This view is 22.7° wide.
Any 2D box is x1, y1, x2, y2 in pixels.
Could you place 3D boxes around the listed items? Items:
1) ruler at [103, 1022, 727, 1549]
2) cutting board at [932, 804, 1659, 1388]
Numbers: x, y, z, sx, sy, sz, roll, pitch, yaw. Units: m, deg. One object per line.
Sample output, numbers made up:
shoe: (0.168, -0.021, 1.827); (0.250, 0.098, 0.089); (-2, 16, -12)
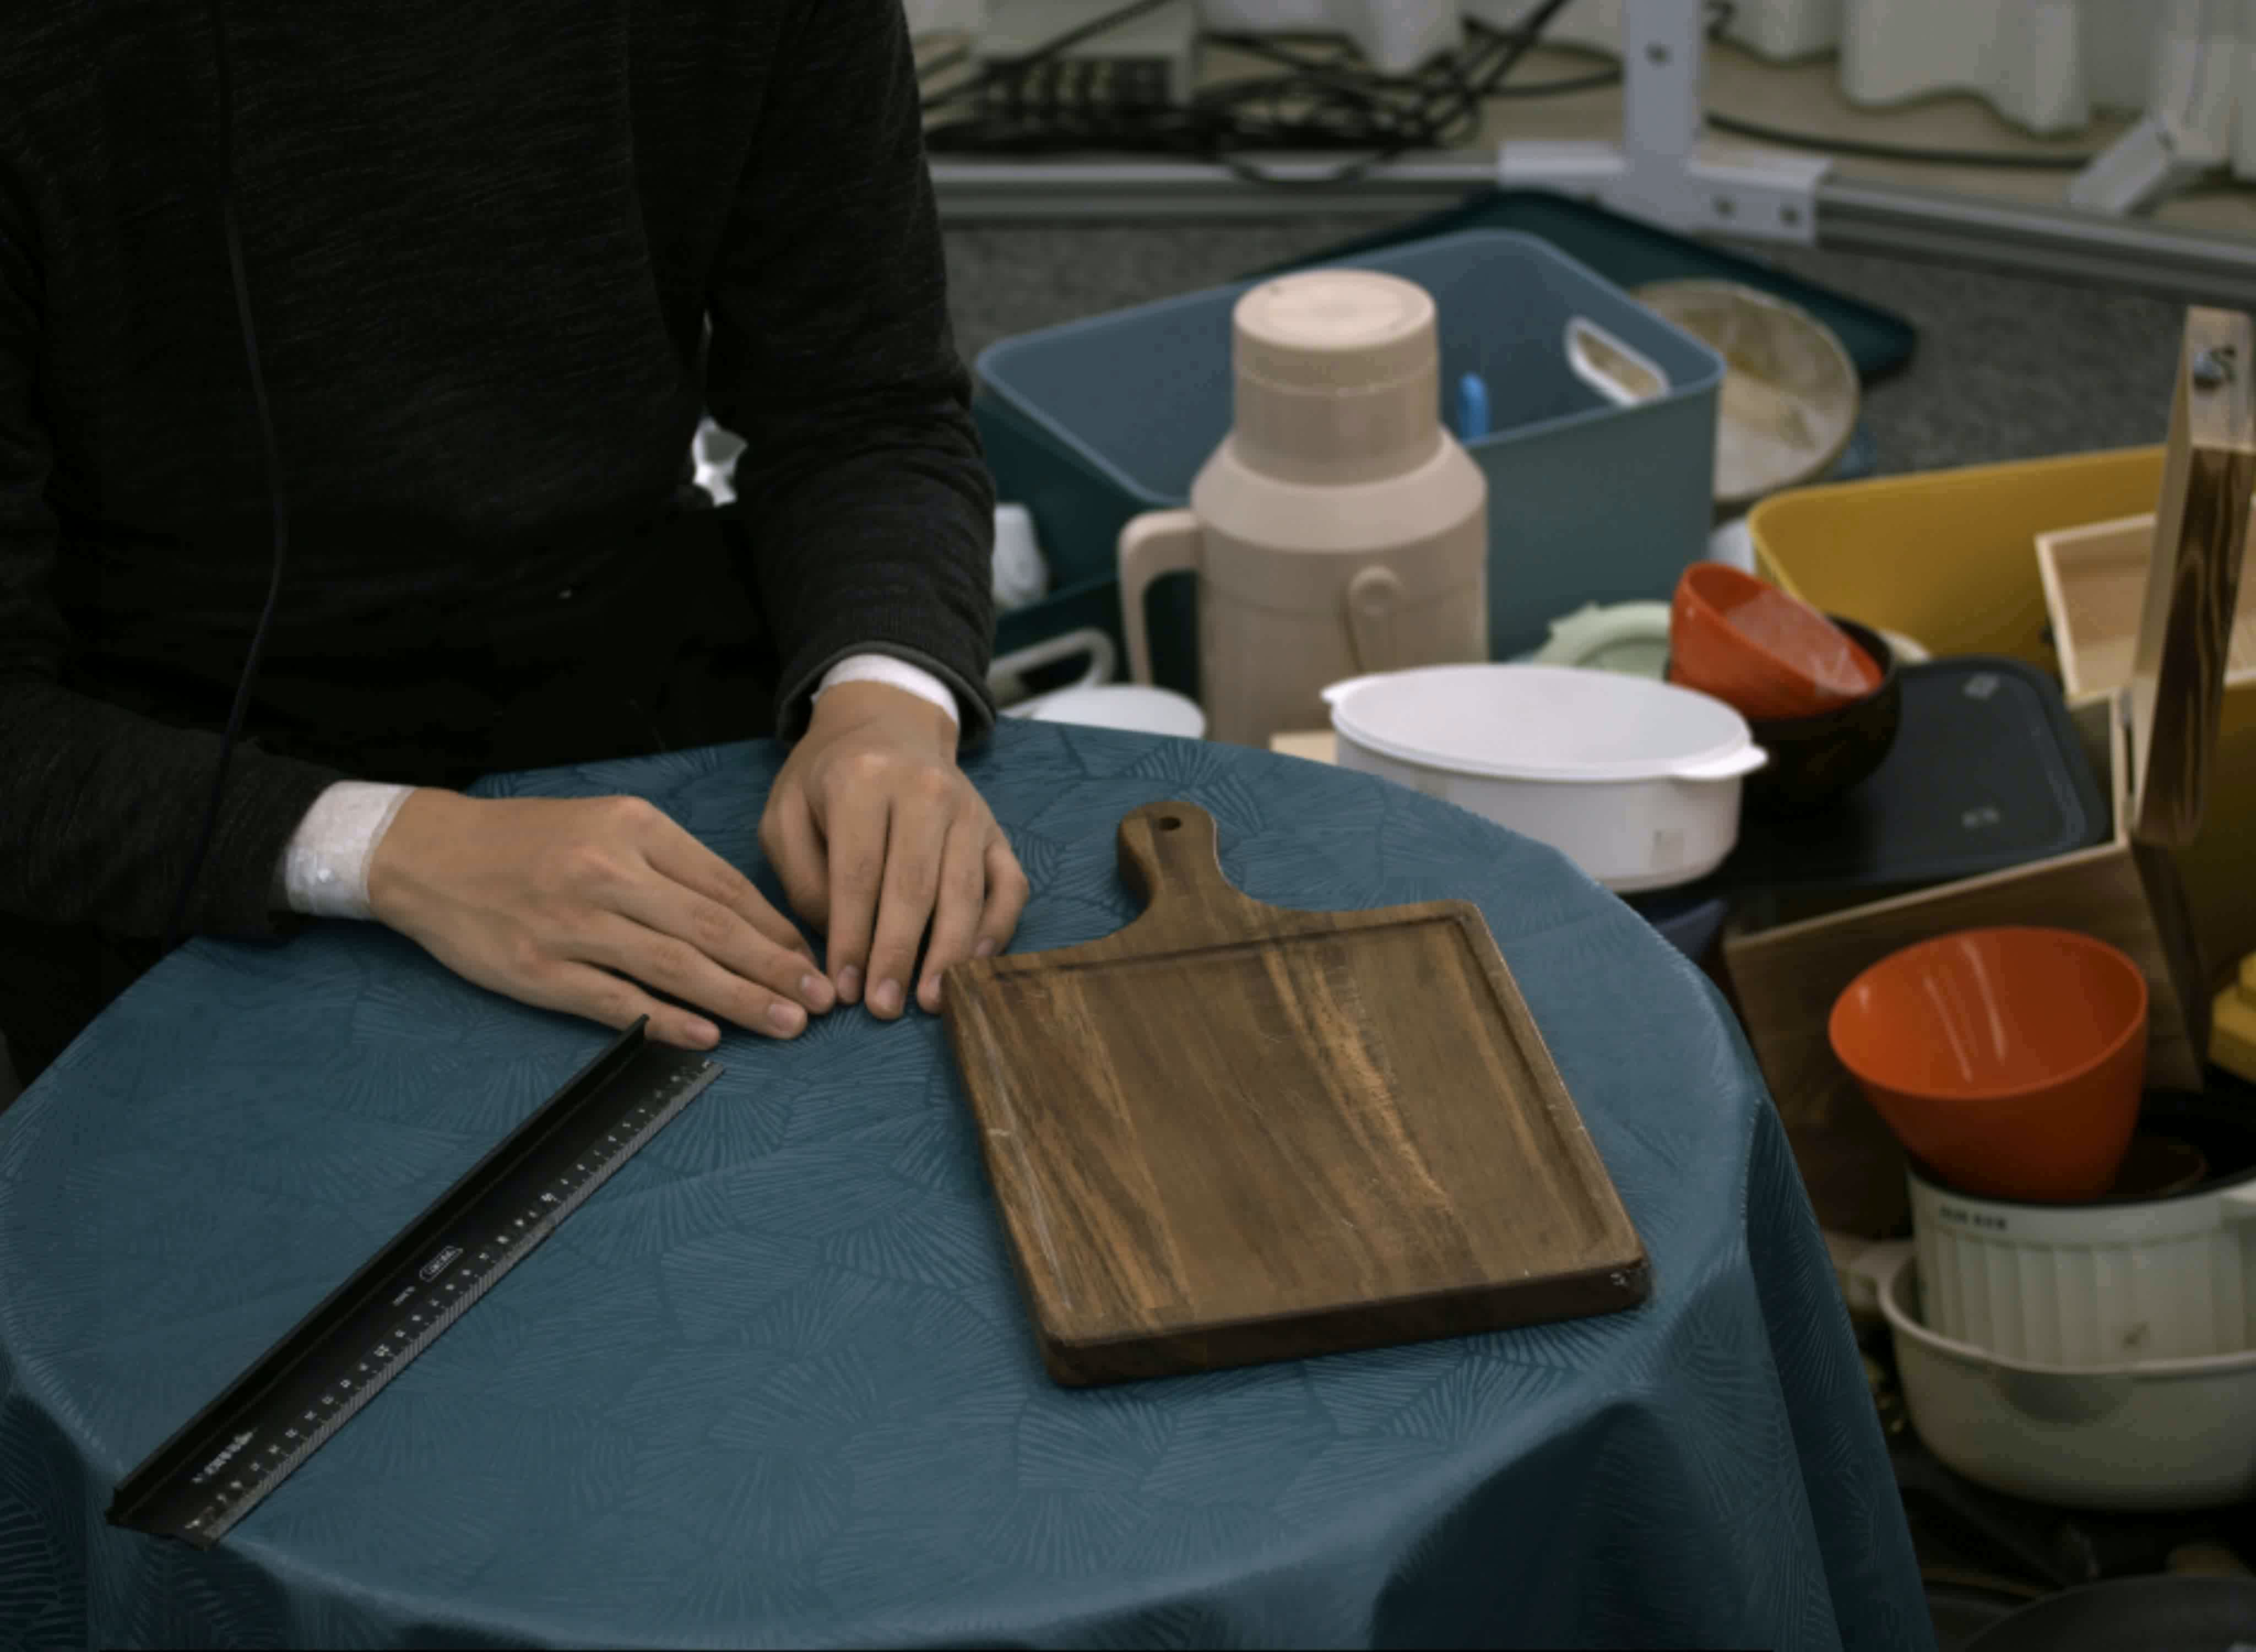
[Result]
ruler: (-0.225, 0.143, 1.825); (0.039, 0.017, 0.318); (13, 31, 24)
cutting board: (0.041, 0.078, 1.918); (0.201, 0.023, 0.356); (-7, 27, -8)
